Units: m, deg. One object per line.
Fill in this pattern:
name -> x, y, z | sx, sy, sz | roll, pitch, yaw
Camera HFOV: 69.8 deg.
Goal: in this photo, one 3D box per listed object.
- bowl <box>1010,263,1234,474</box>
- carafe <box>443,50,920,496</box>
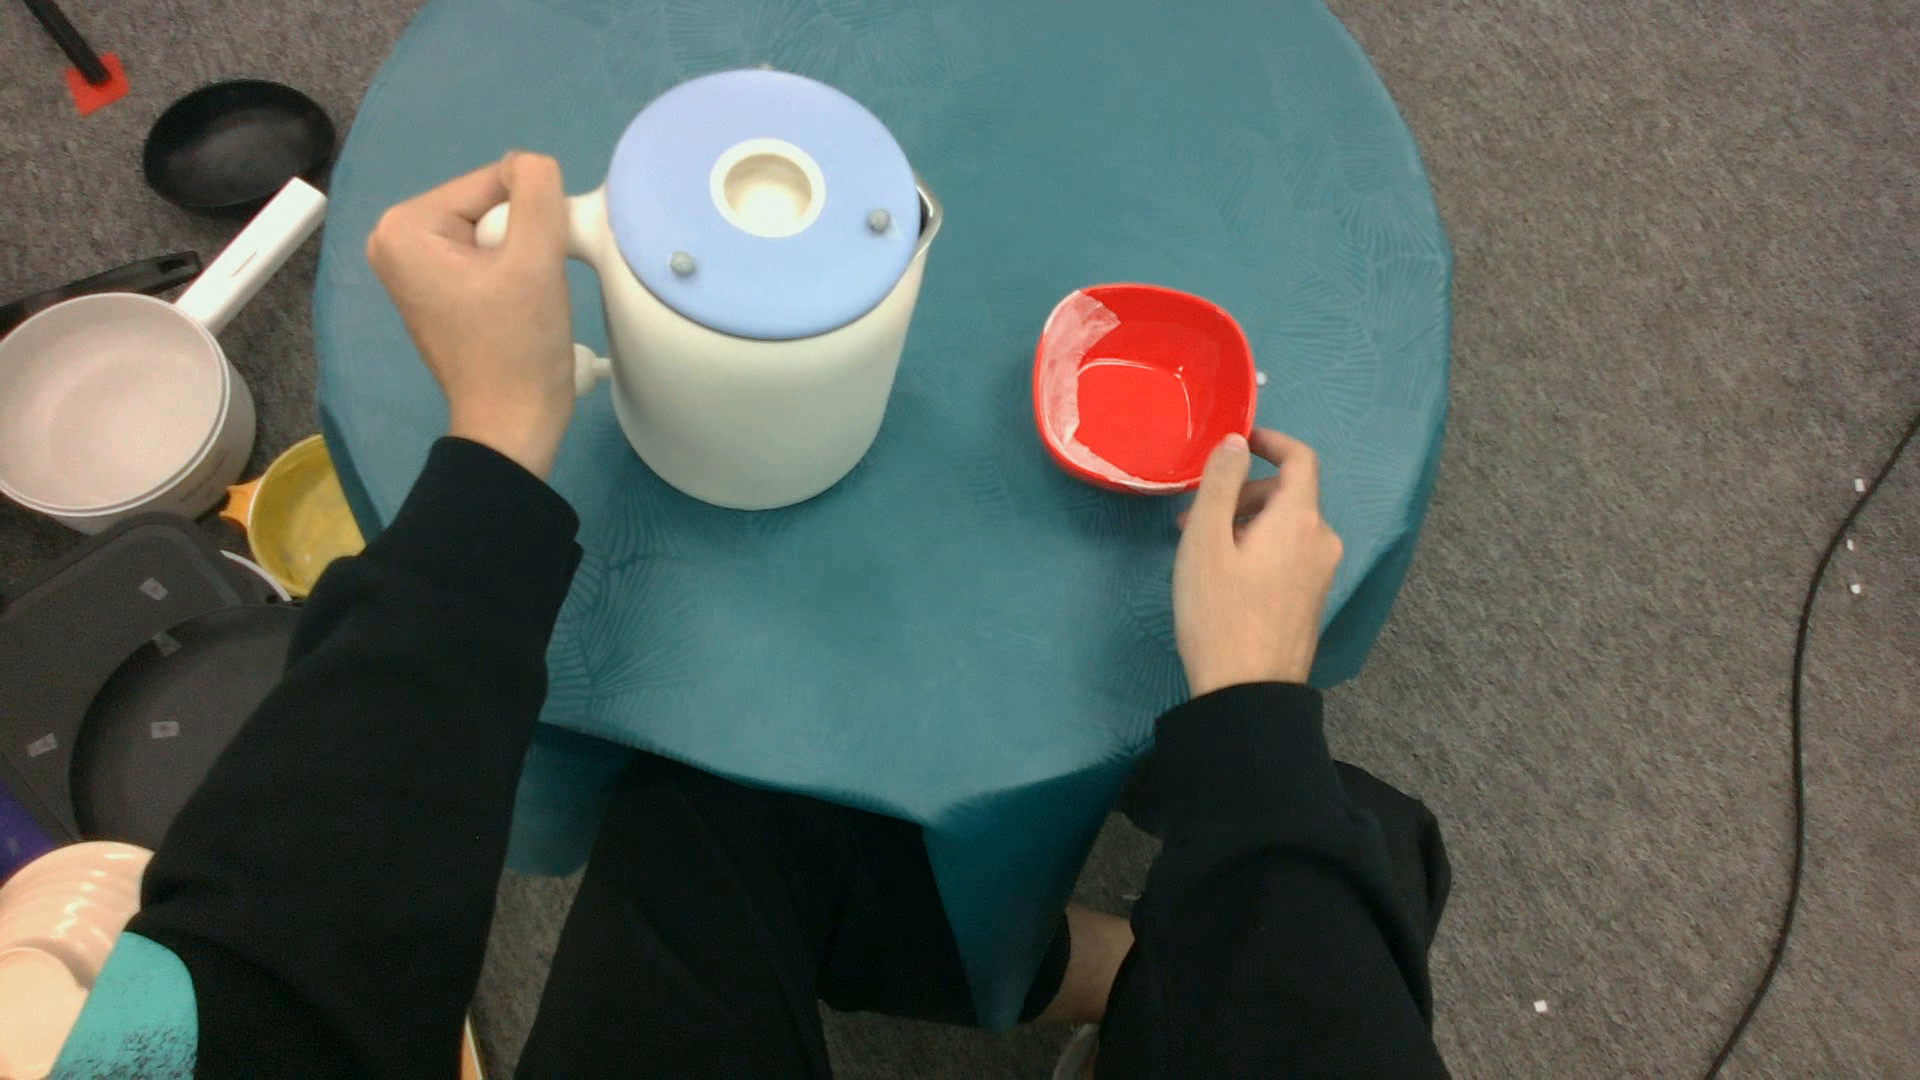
bowl -> 0.076, -0.078, 0.688 | 0.119, 0.051, 0.119 | 3, 68, -8
carafe -> -0.121, -0.107, 0.592 | 0.191, 0.182, 0.132 | -3, 70, -10
